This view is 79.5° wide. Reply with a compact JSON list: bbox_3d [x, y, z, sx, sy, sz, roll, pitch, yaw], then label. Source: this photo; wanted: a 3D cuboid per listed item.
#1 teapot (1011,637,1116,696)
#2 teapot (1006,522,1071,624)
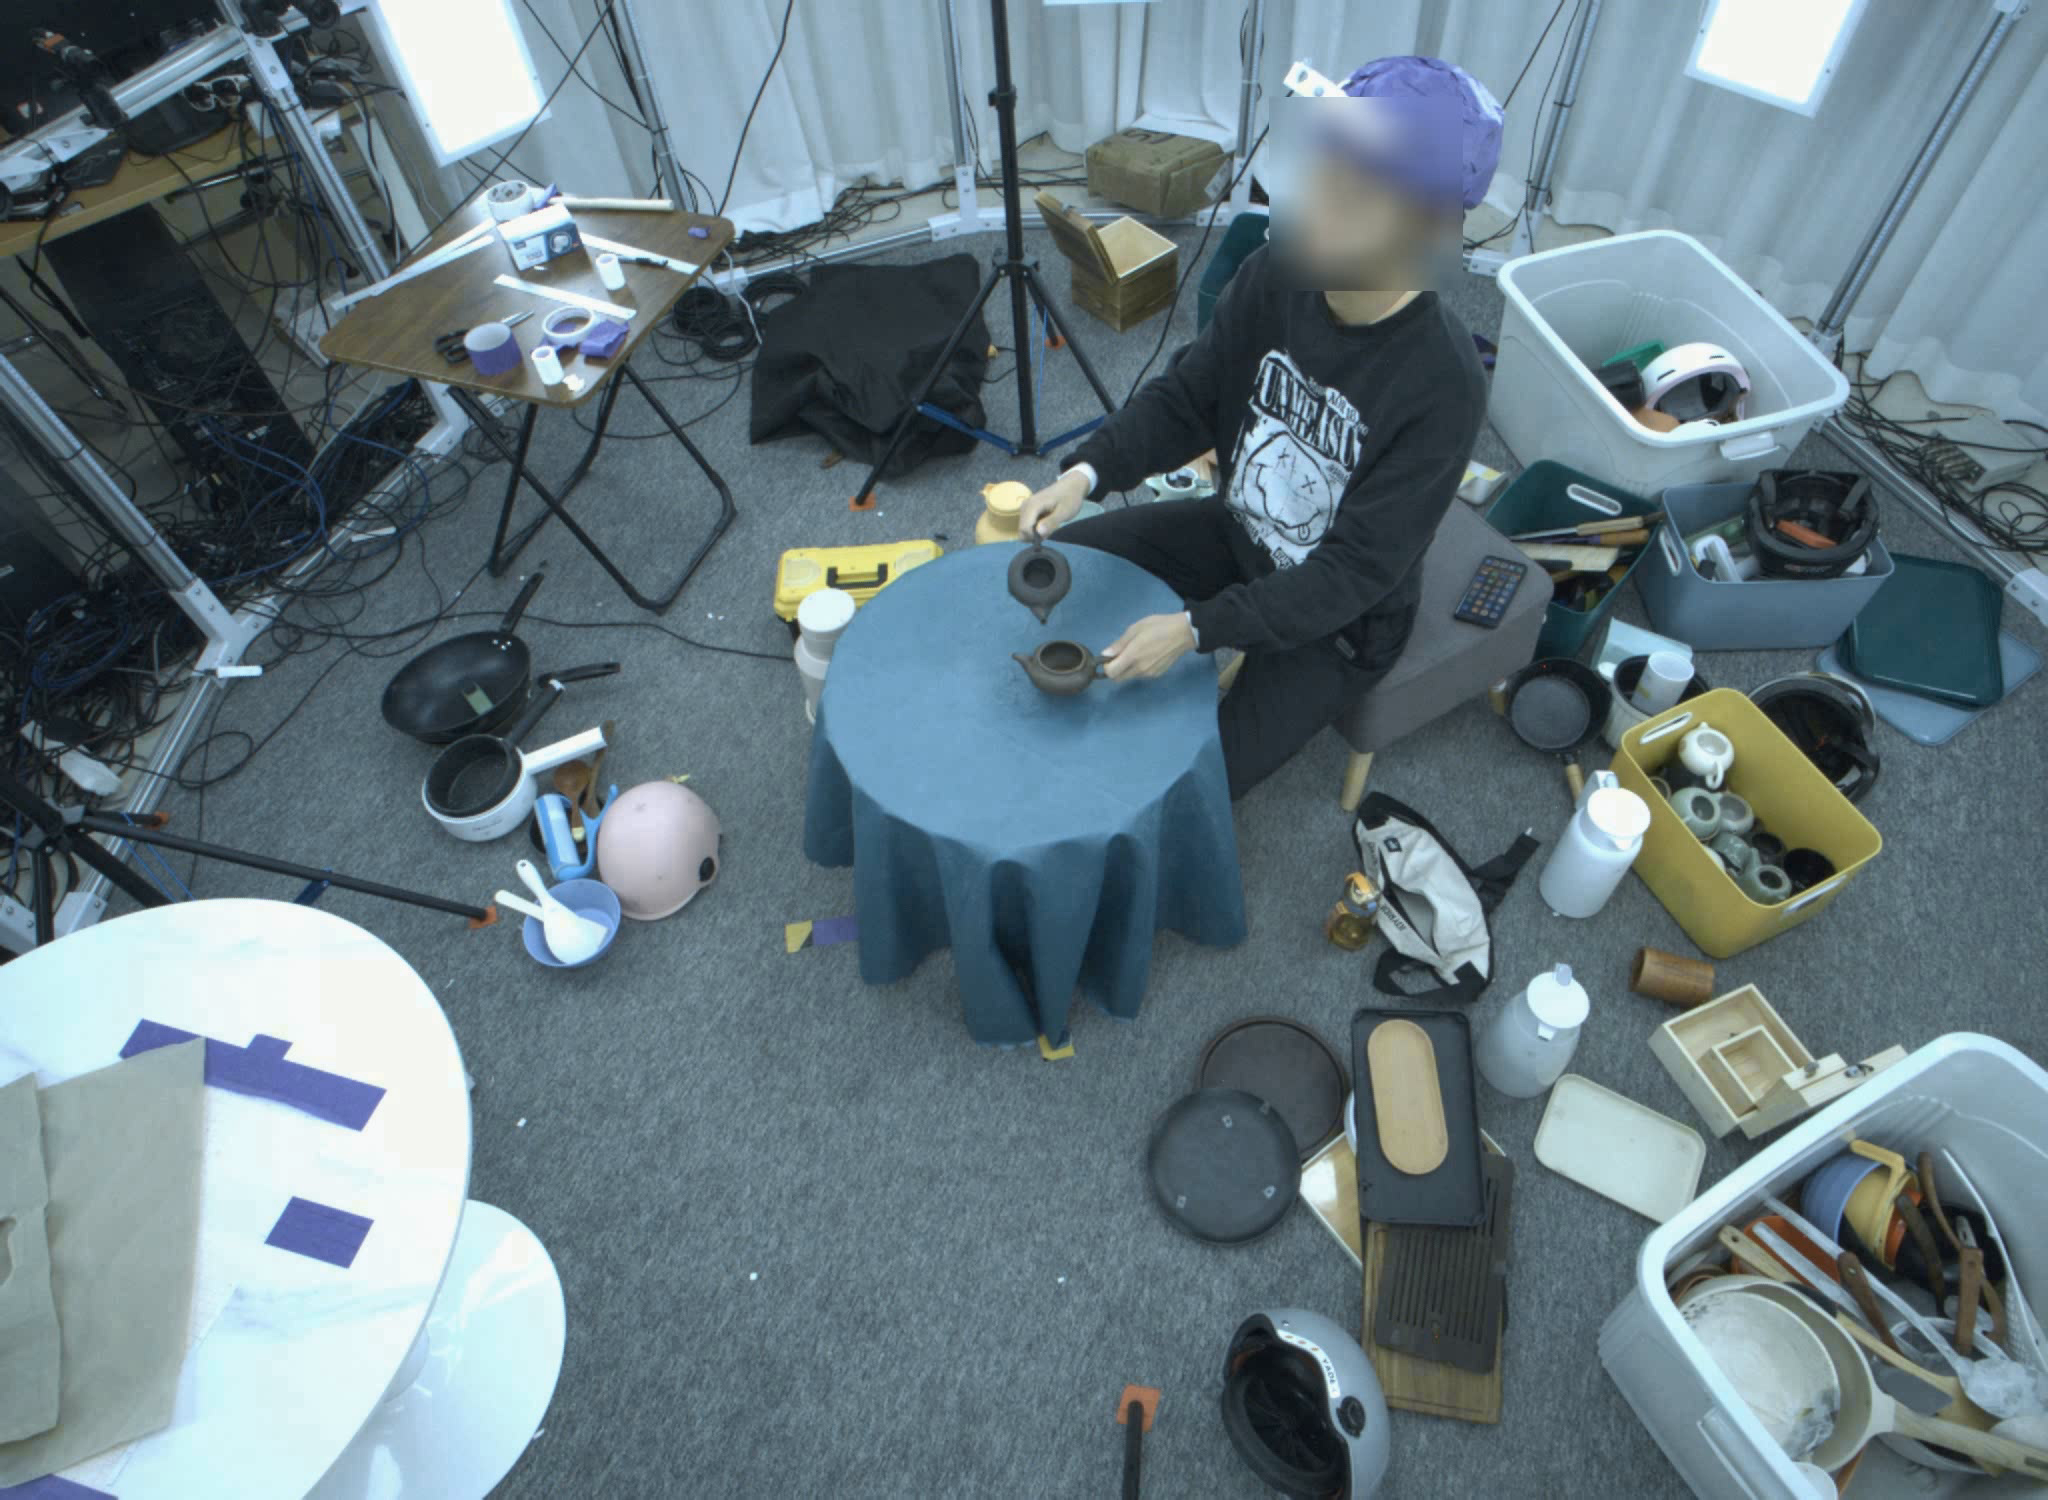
[{"bbox_3d":[0.058,-0.123,1.798,0.154,0.054,0.101,-4,51,-4],"label":"teapot"},{"bbox_3d":[0.020,-0.252,1.764,0.093,0.064,0.153,-2,82,-5],"label":"teapot"}]
